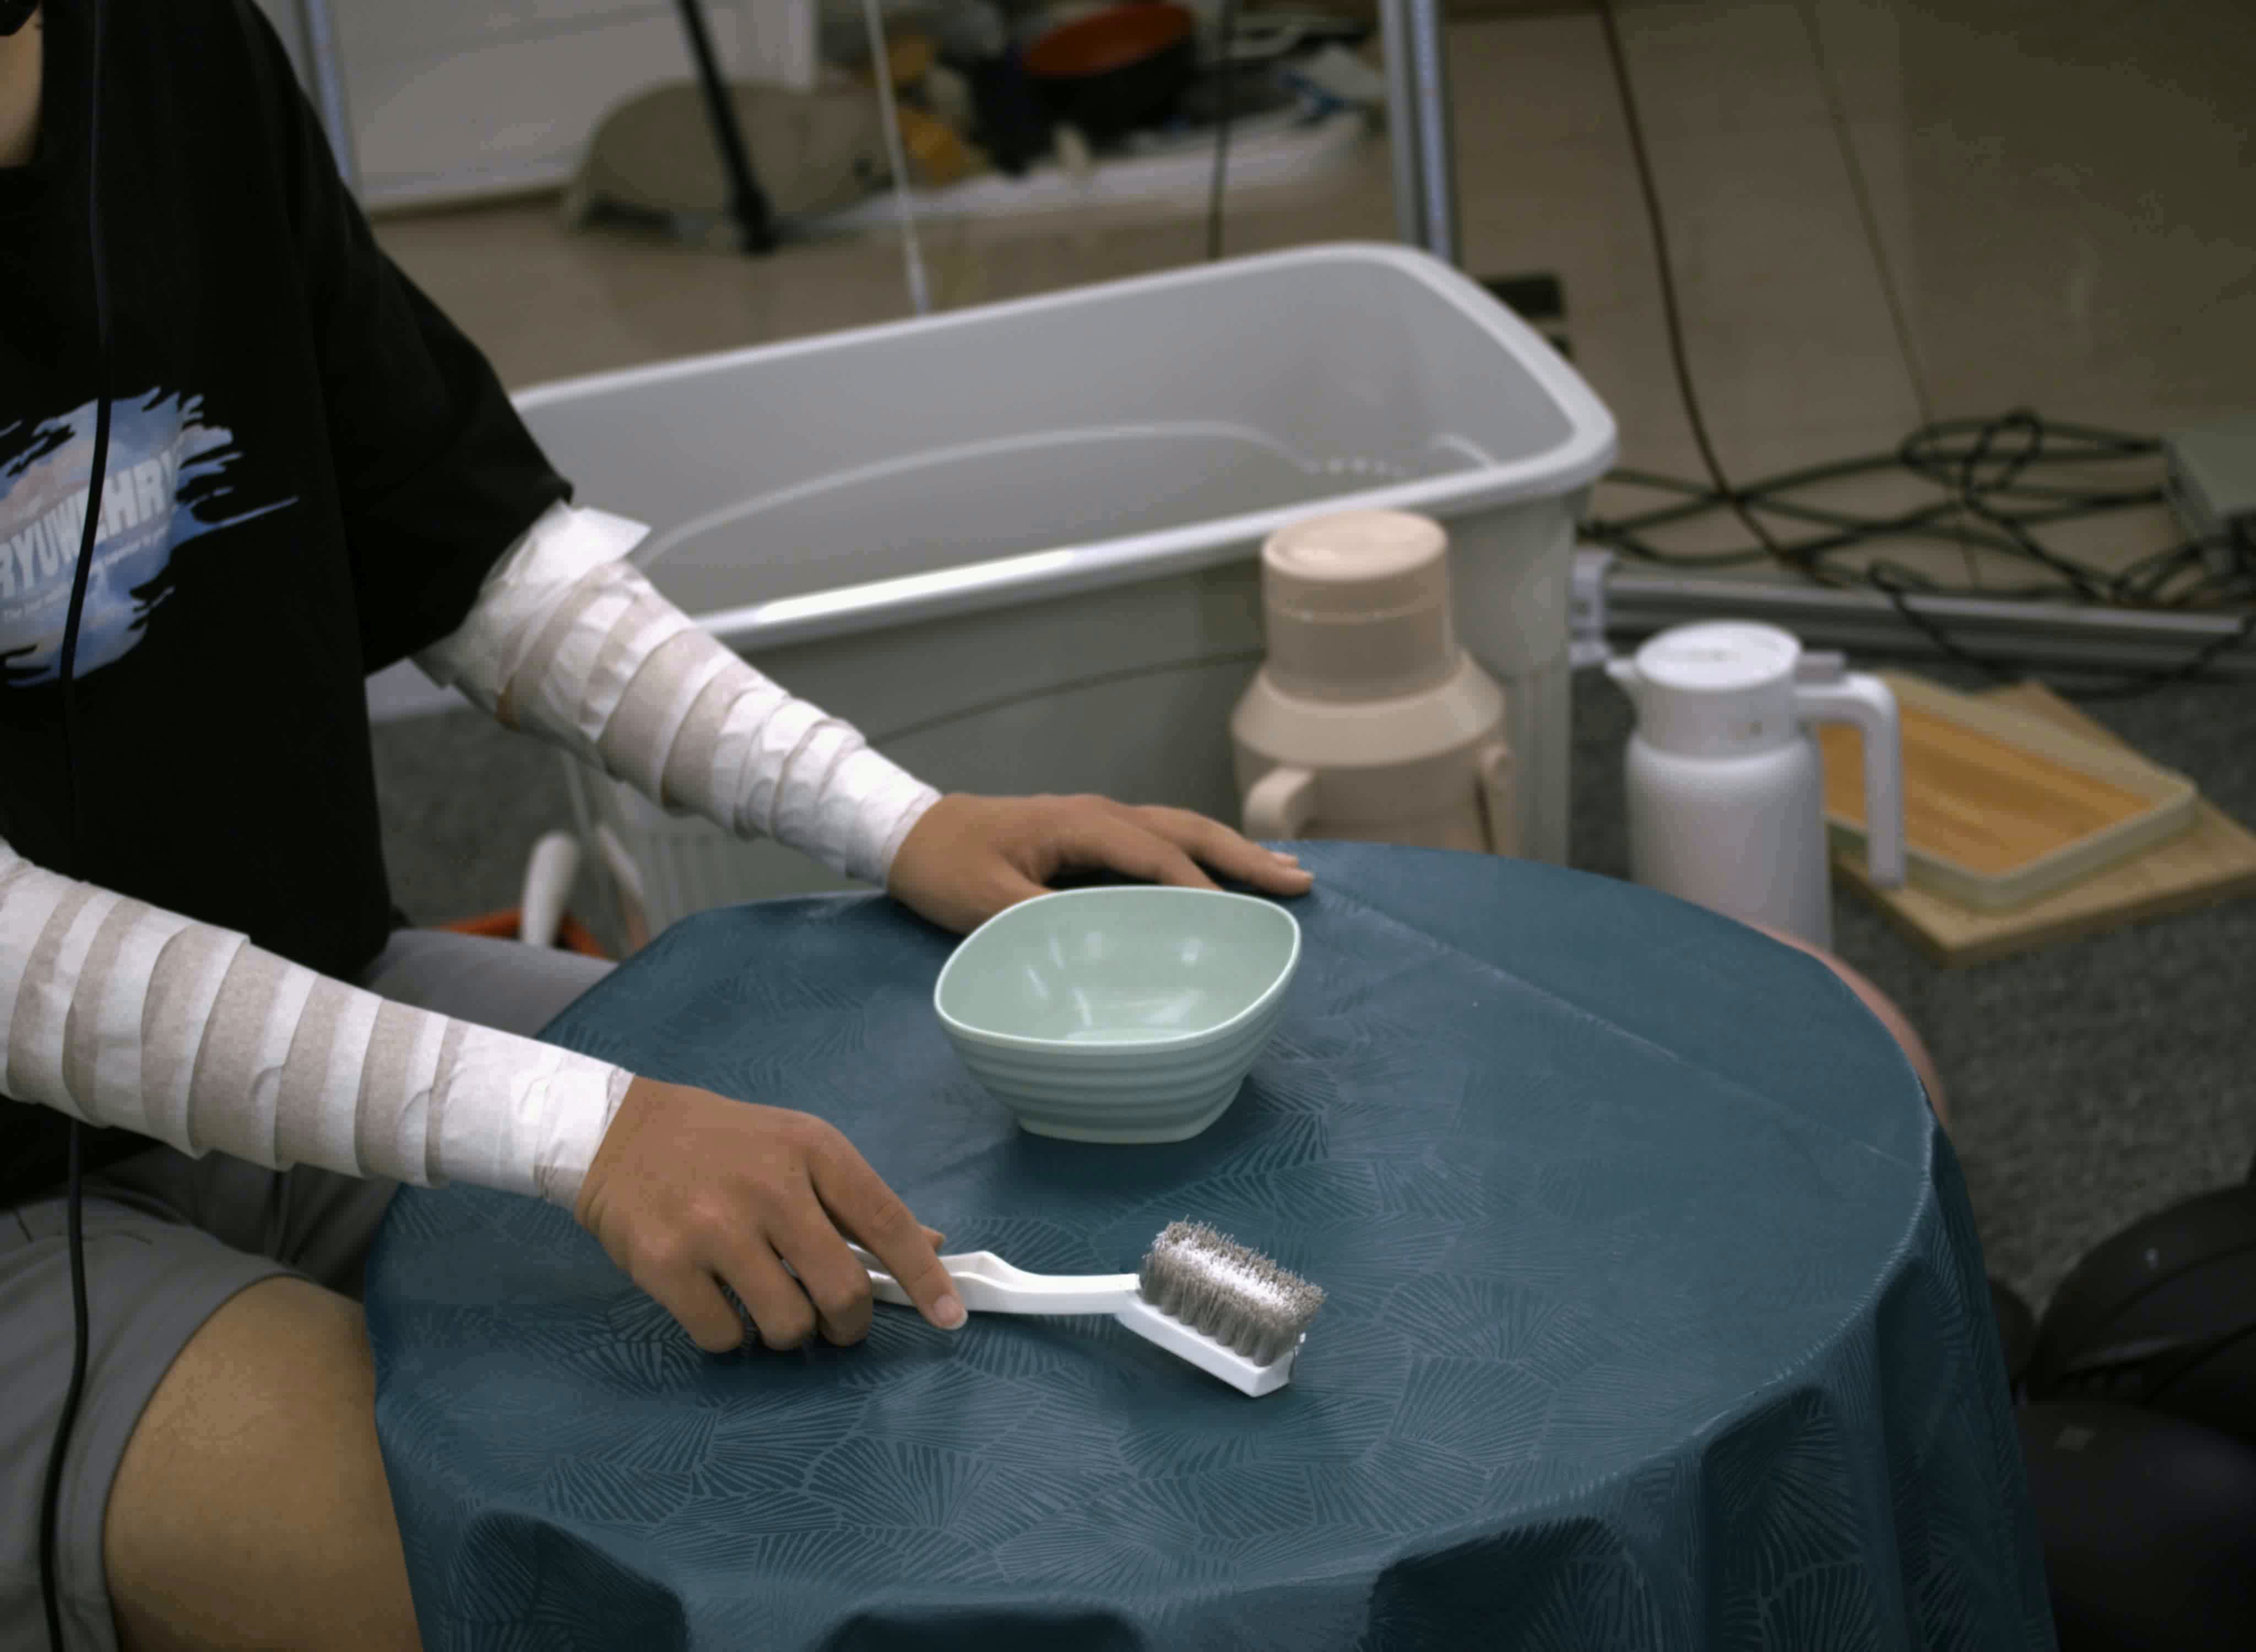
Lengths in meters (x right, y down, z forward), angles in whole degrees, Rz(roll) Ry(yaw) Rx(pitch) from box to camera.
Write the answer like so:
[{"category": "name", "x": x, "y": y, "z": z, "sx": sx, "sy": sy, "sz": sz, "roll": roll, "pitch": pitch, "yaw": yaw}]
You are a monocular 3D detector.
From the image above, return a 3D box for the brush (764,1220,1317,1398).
[{"category": "brush", "x": -0.037, "y": 0.156, "z": 2.059, "sx": 0.242, "sy": 0.051, "sz": 0.034, "roll": 12, "pitch": 28, "yaw": 35}]

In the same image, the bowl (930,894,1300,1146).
[{"category": "bowl", "x": -0.002, "y": 0.080, "z": 2.208, "sx": 0.151, "sy": 0.059, "sz": 0.149, "roll": -5, "pitch": 23, "yaw": 2}]
